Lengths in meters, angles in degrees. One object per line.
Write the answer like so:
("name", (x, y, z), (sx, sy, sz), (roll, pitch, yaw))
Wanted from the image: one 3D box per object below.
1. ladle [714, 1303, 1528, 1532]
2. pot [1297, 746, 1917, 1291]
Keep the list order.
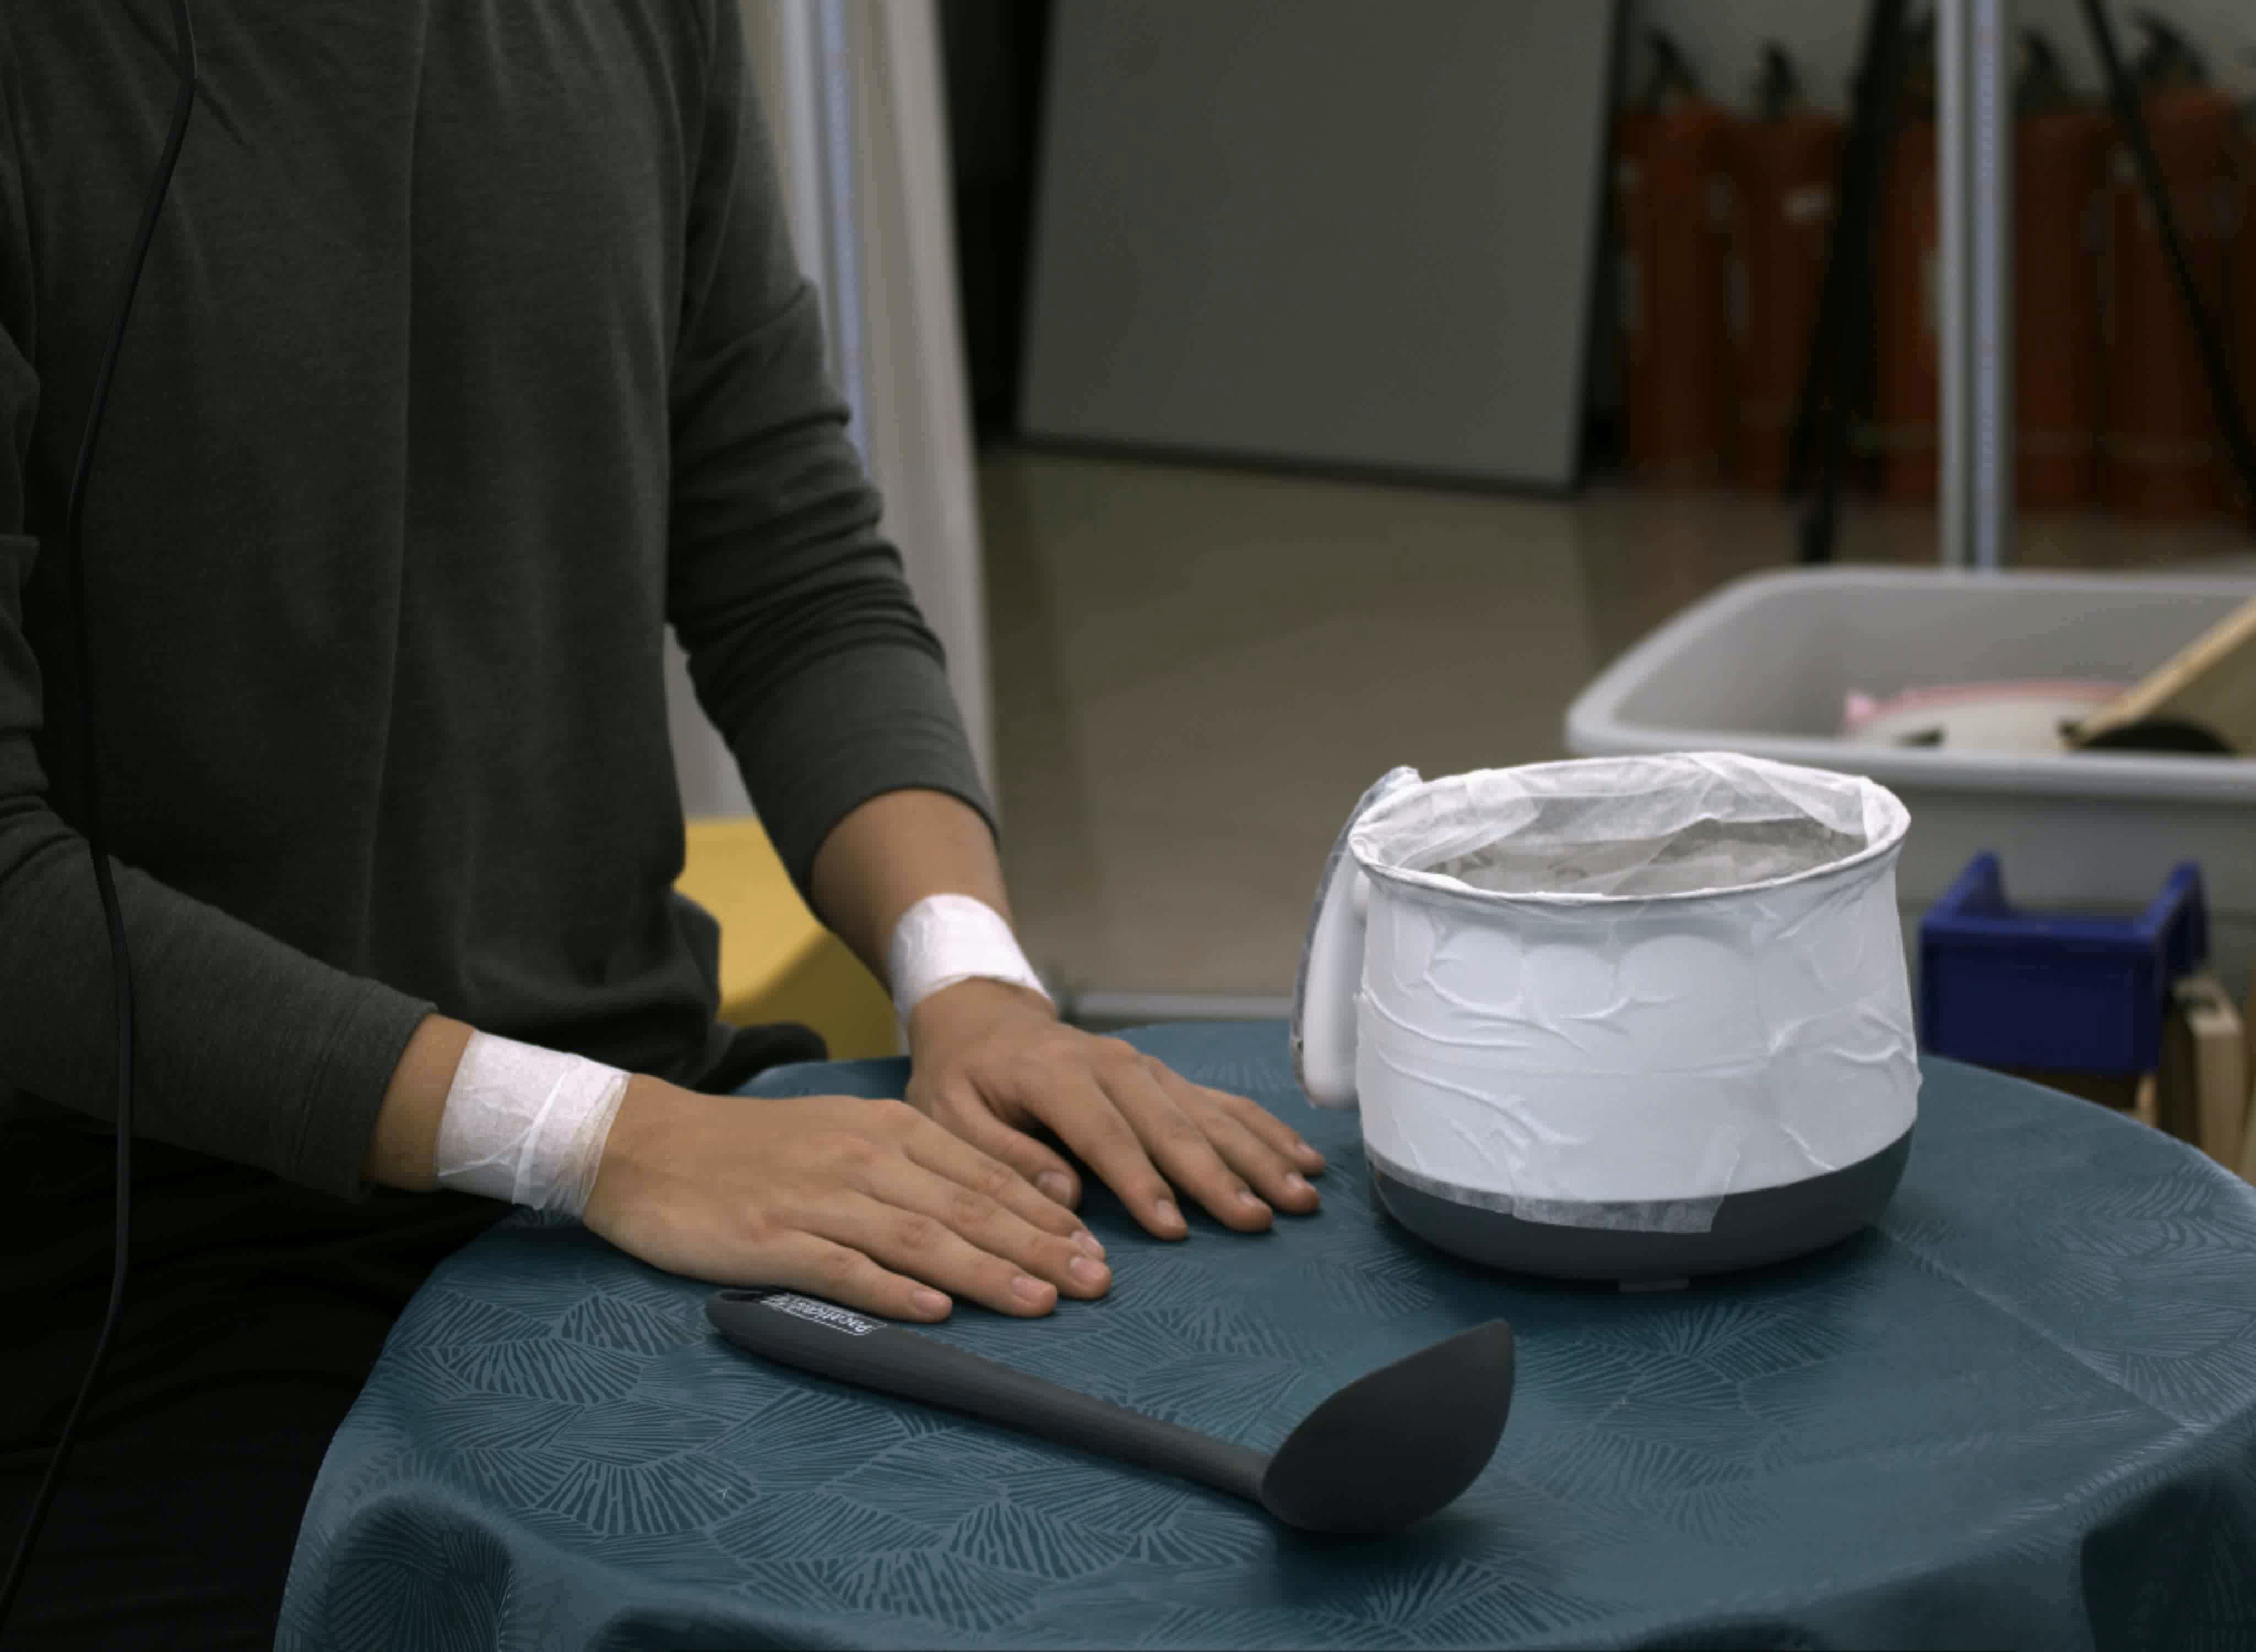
("ladle", (-0.016, 0.147, 1.539), (0.084, 0.065, 0.317), (-10, 13, -42))
("pot", (0.141, 0.055, 1.712), (0.175, 0.138, 0.236), (-15, 17, -41))
